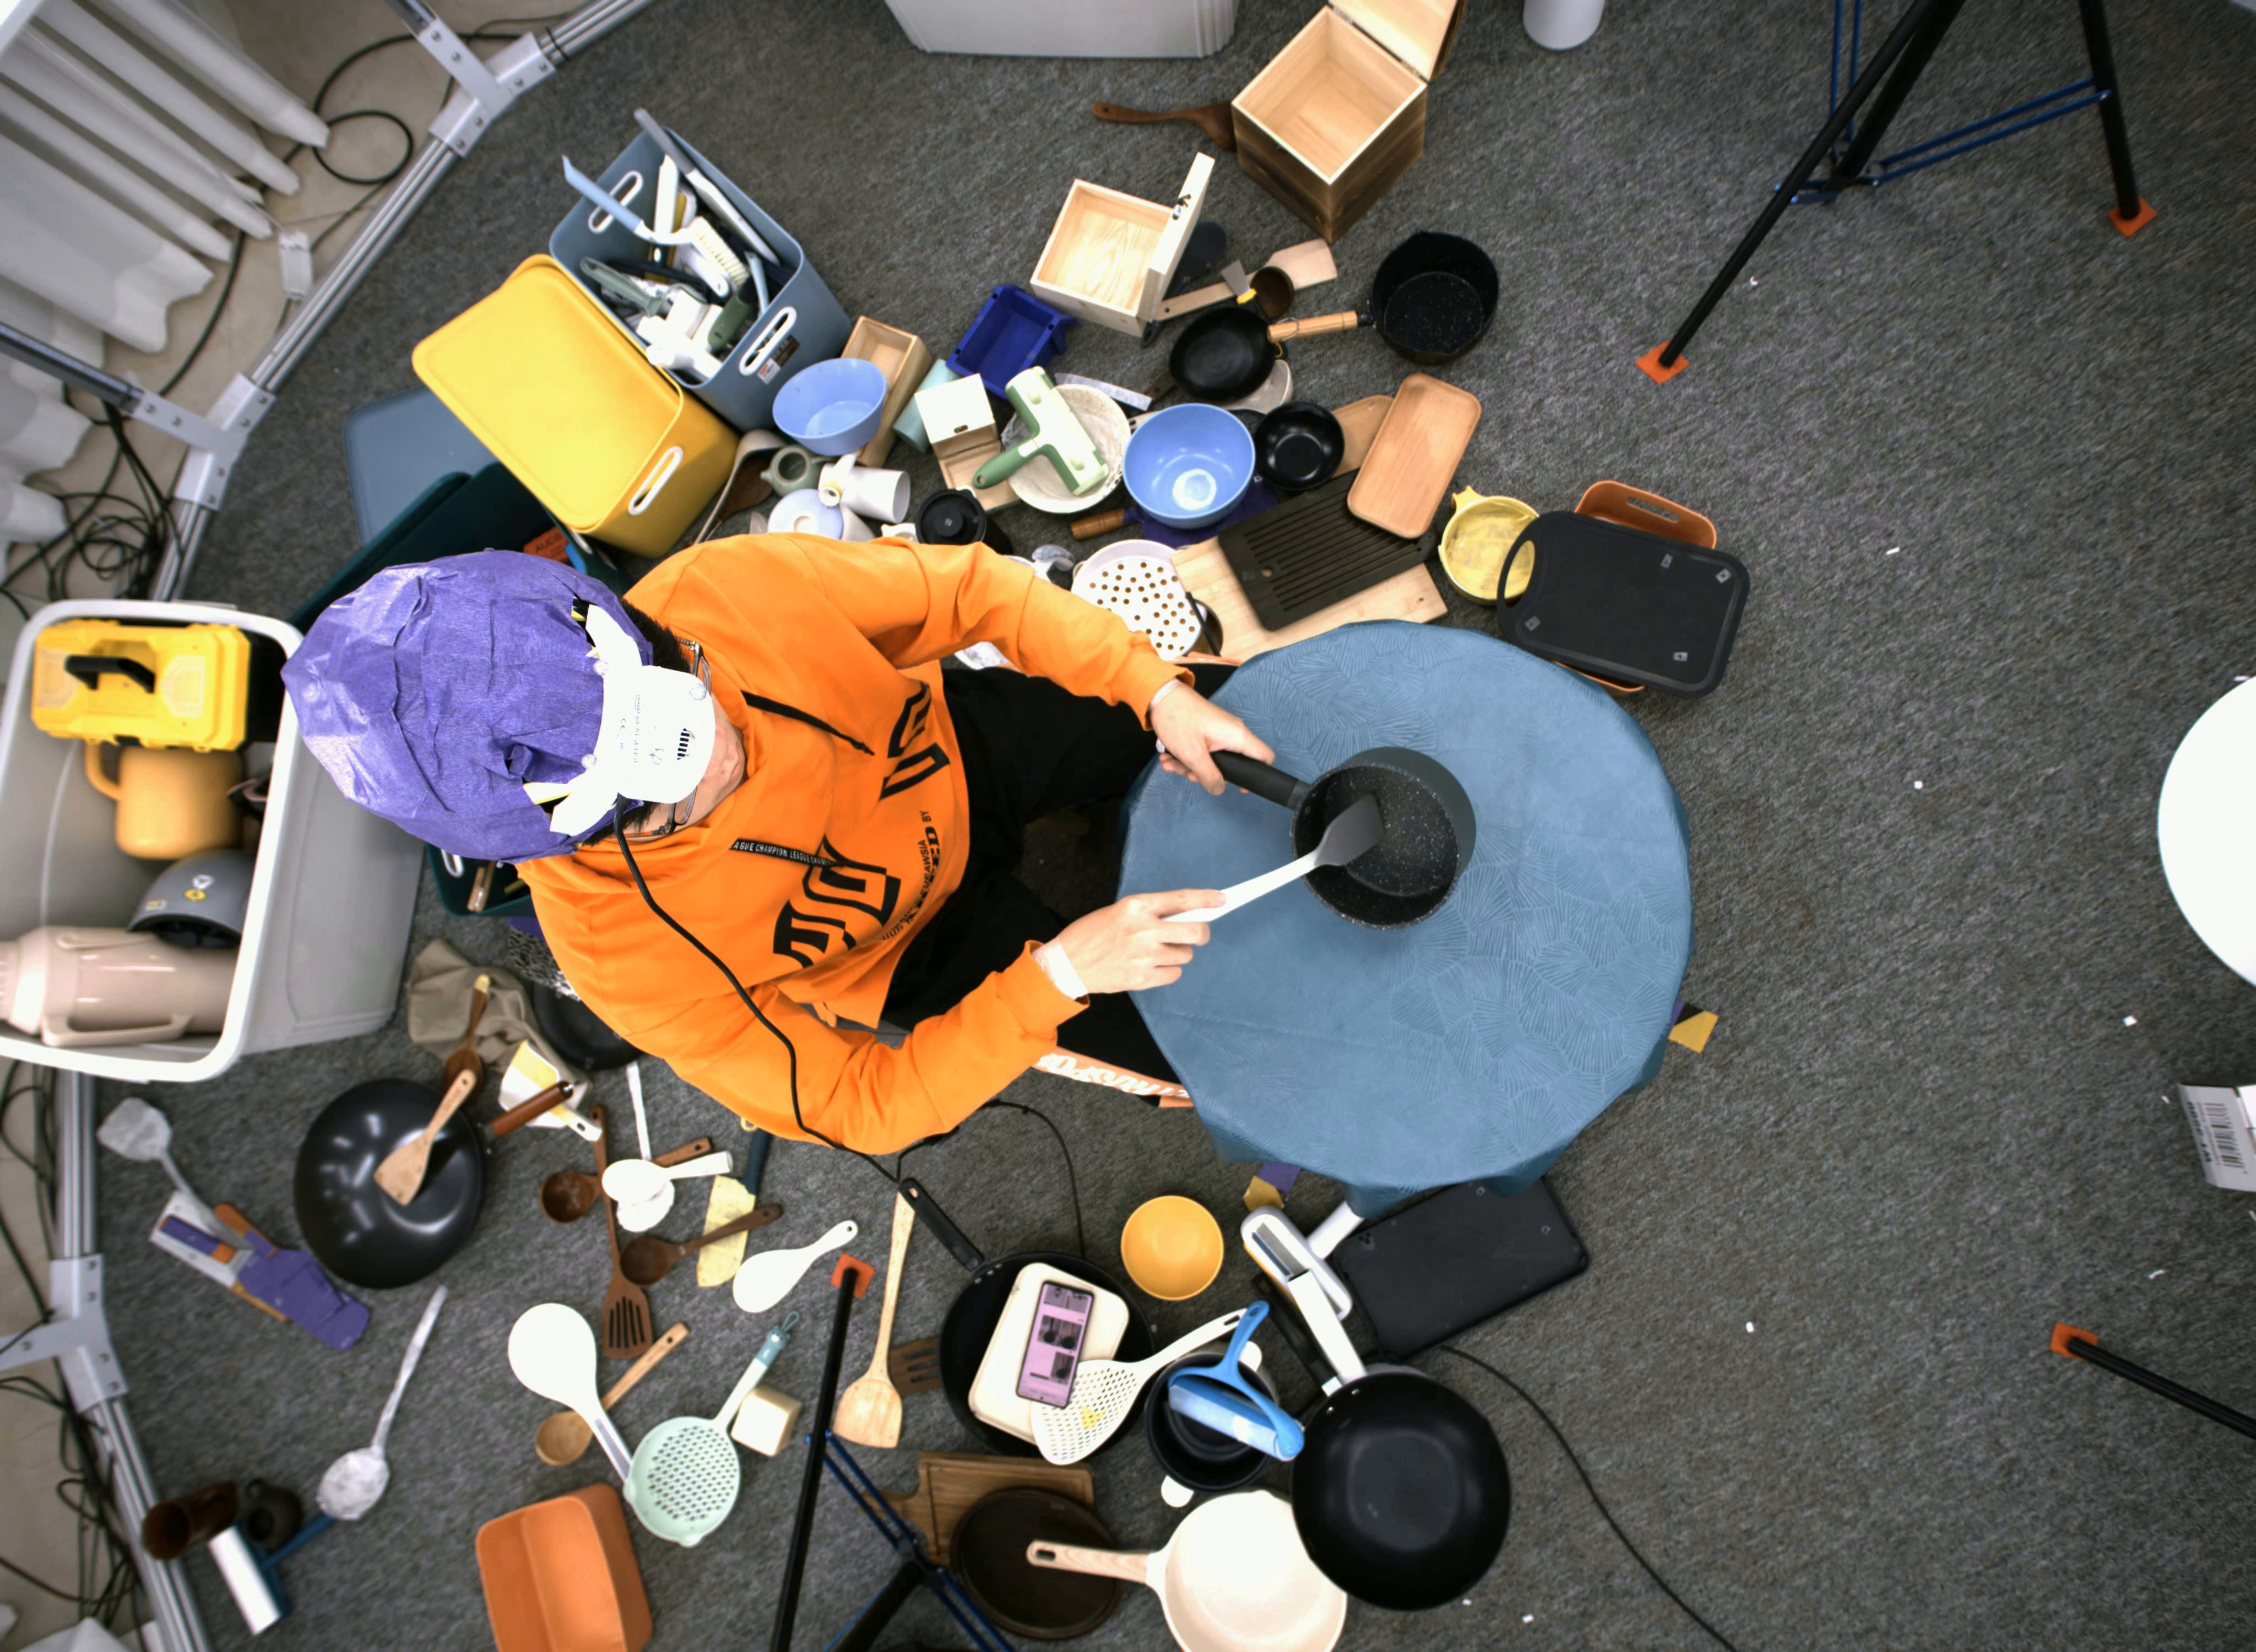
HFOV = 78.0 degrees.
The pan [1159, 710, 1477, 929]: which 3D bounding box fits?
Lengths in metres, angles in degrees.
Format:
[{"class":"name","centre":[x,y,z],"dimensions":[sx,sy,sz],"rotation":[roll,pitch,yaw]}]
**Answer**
[{"class":"pan","centre":[0.186,-0.031,1.370],"dimensions":[0.328,0.084,0.176],"rotation":[31,122,14]}]

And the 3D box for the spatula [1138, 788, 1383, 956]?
[{"class":"spatula","centre":[0.137,0.046,1.335],"dimensions":[0.284,0.032,0.059],"rotation":[-27,109,-18]}]
